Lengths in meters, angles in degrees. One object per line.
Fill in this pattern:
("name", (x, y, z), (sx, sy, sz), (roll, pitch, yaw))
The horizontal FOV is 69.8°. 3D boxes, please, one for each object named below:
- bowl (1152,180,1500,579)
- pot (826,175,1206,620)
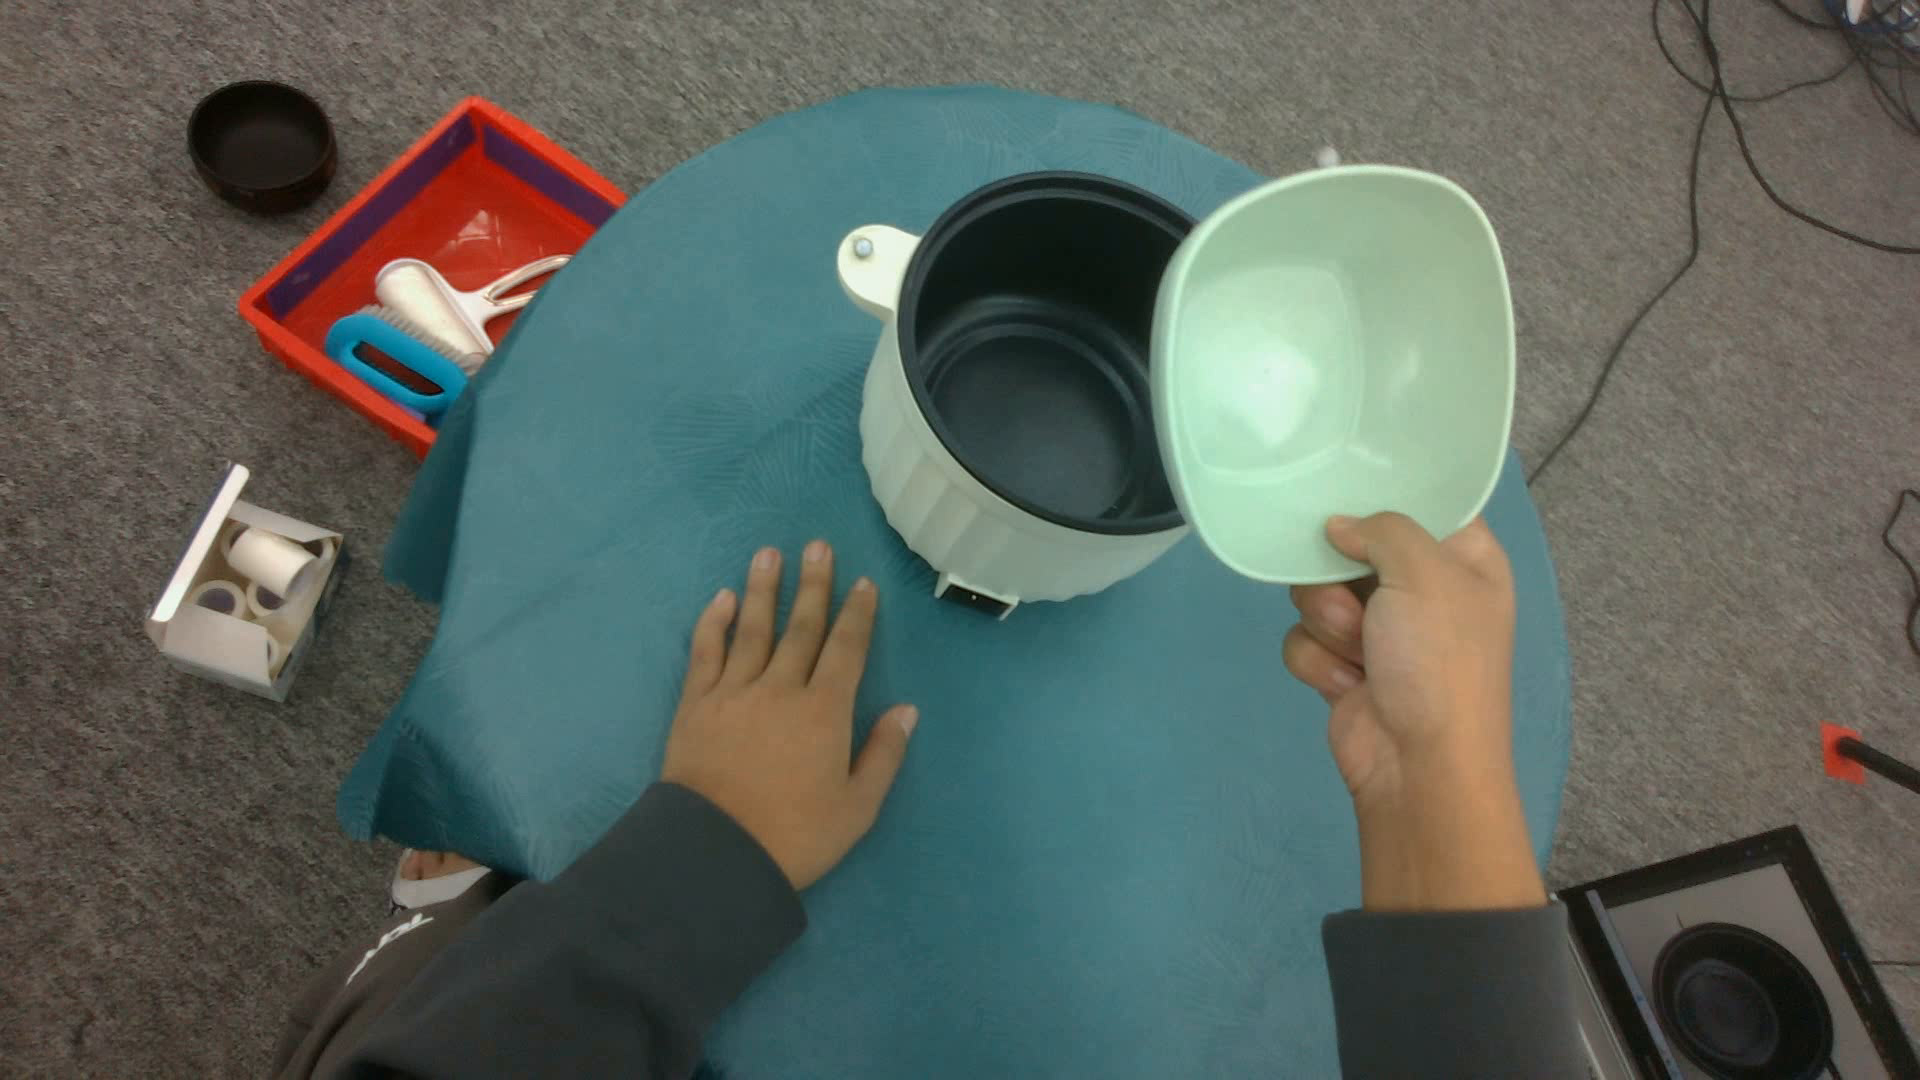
("bowl", (0.126, -0.060, 0.513), (0.152, 0.058, 0.151), (-3, 98, -20))
("pot", (0.042, -0.069, 0.679), (0.240, 0.142, 0.191), (16, 68, -10))
